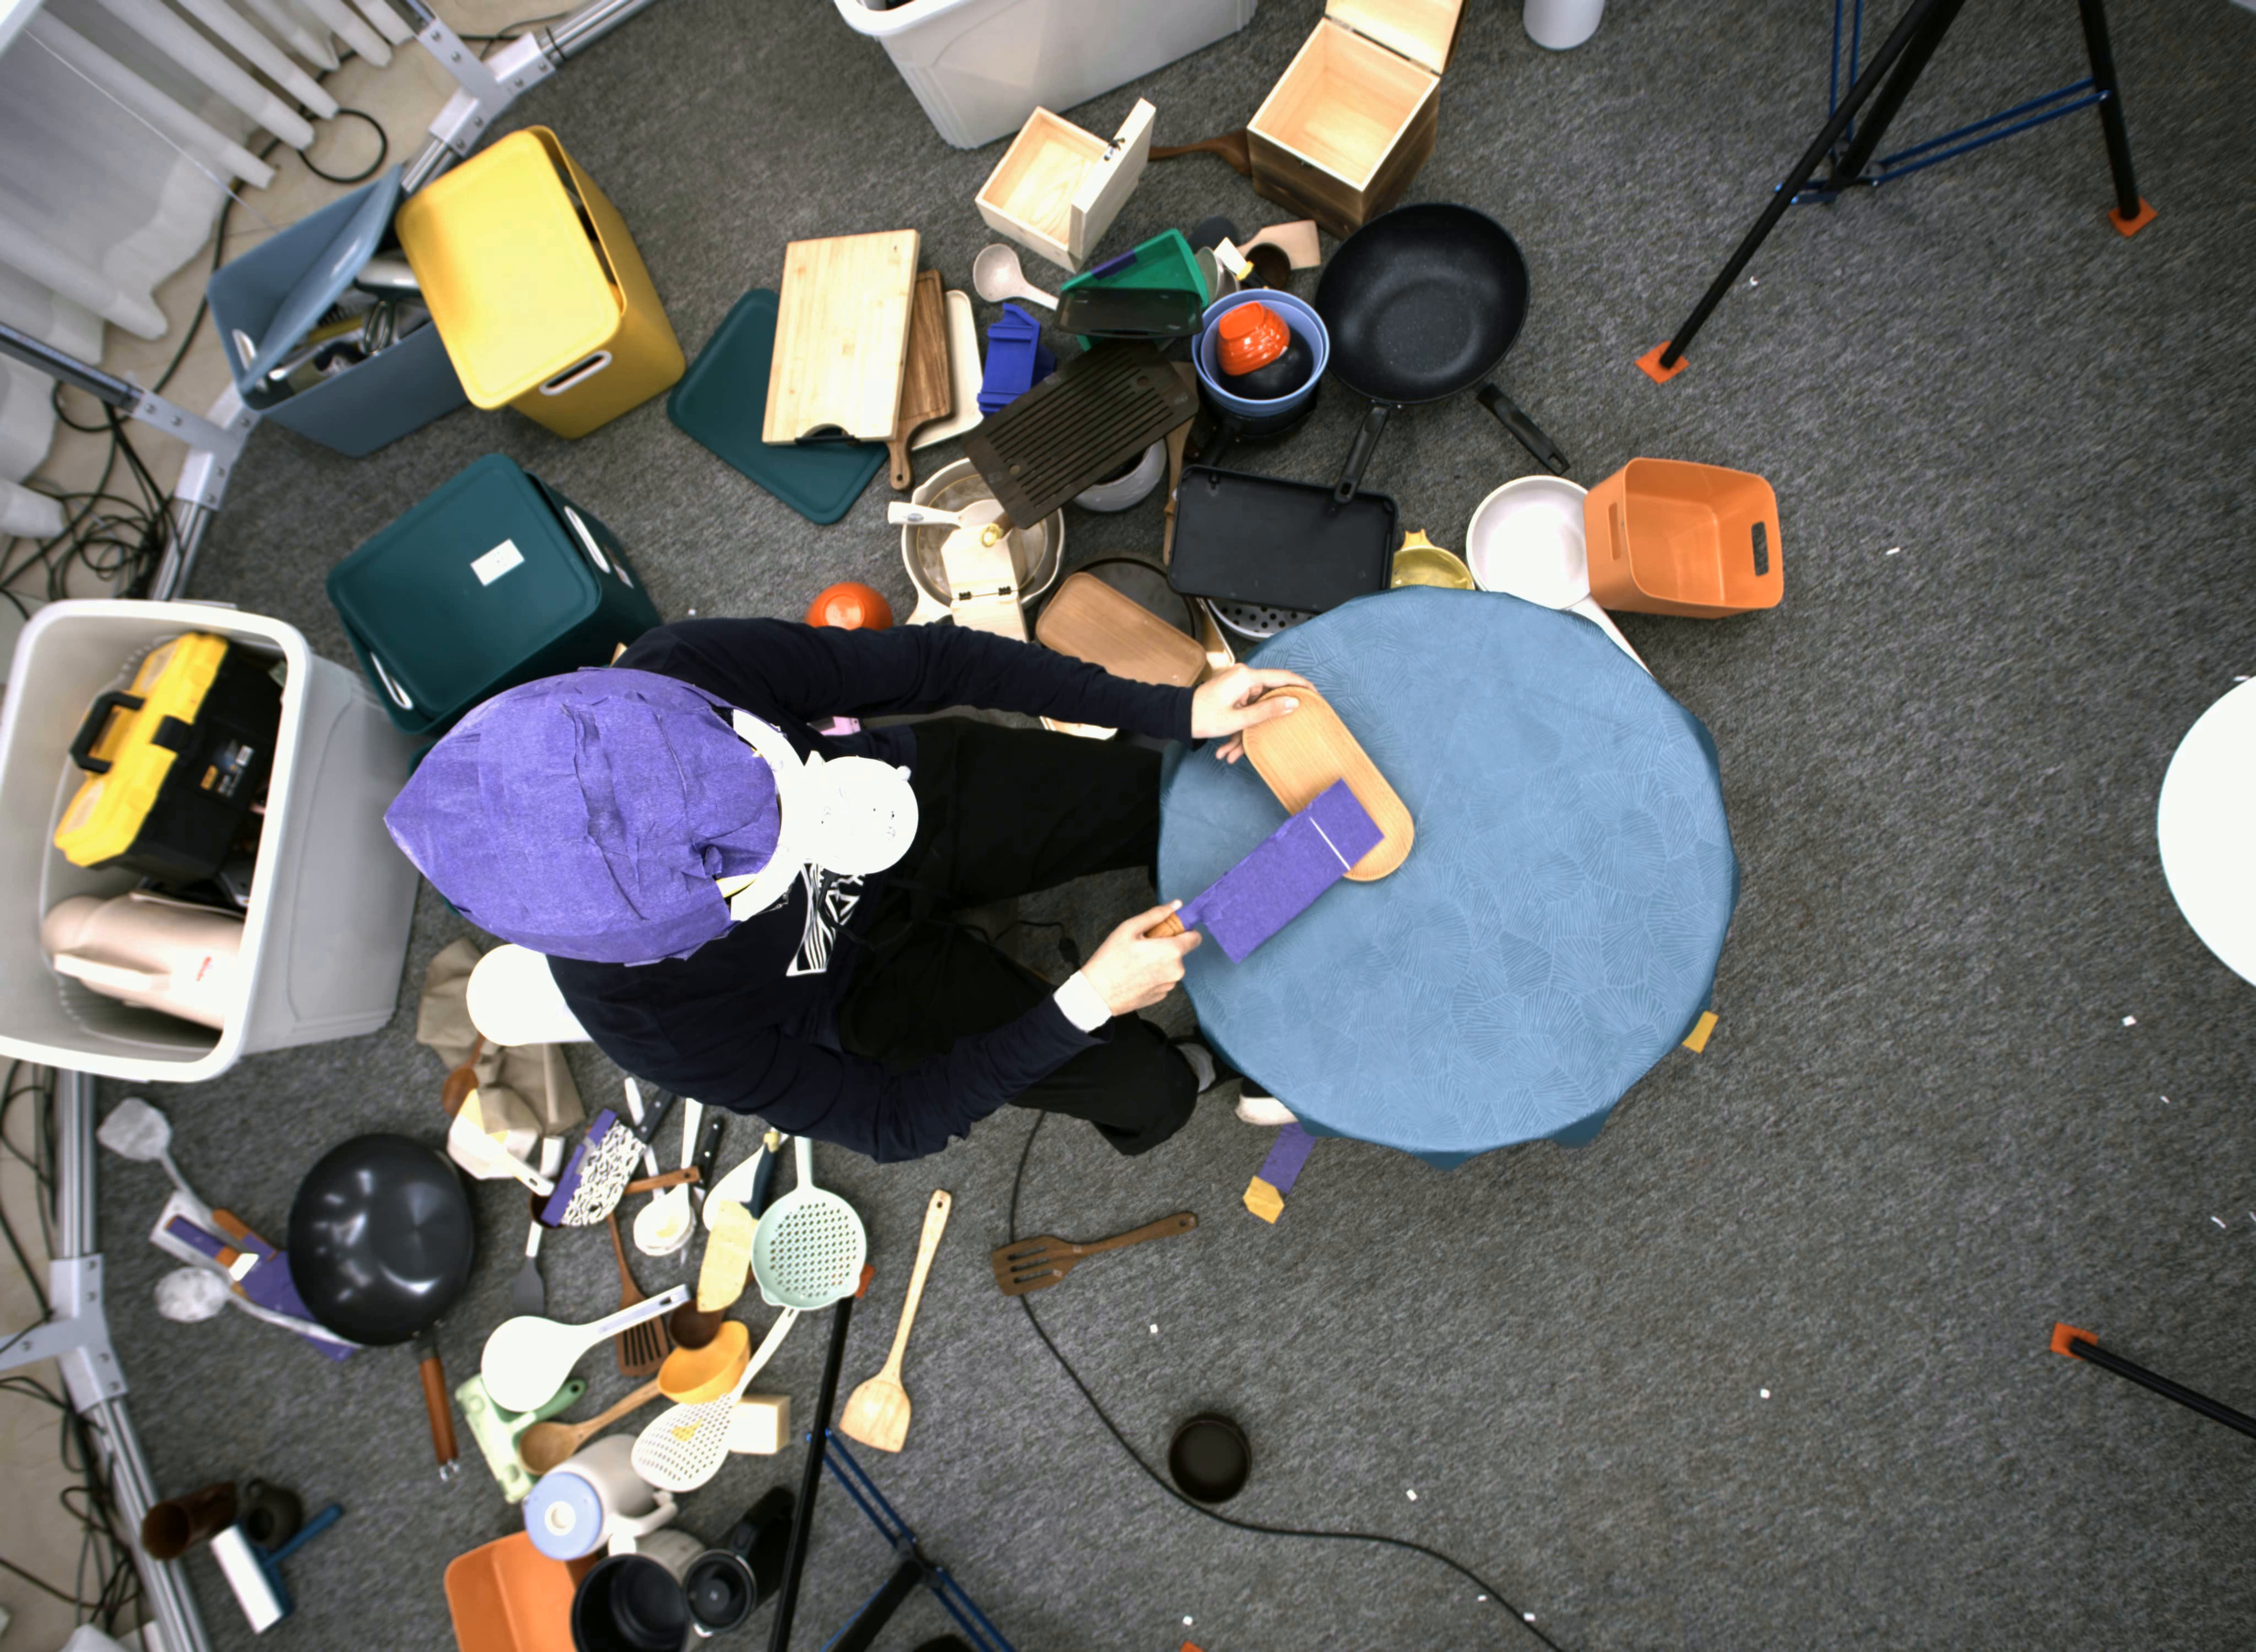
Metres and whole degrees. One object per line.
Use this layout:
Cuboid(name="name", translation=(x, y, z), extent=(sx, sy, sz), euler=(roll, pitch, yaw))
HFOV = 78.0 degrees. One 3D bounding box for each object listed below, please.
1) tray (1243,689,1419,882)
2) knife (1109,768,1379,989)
Cuboid(name="tray", translation=(0.211, -0.043, 1.436), extent=(0.102, 0.020, 0.232), euler=(-39, 100, 11))
Cuboid(name="knife", translation=(0.126, 0.076, 1.421), extent=(0.315, 0.032, 0.105), euler=(-40, 115, 1))
